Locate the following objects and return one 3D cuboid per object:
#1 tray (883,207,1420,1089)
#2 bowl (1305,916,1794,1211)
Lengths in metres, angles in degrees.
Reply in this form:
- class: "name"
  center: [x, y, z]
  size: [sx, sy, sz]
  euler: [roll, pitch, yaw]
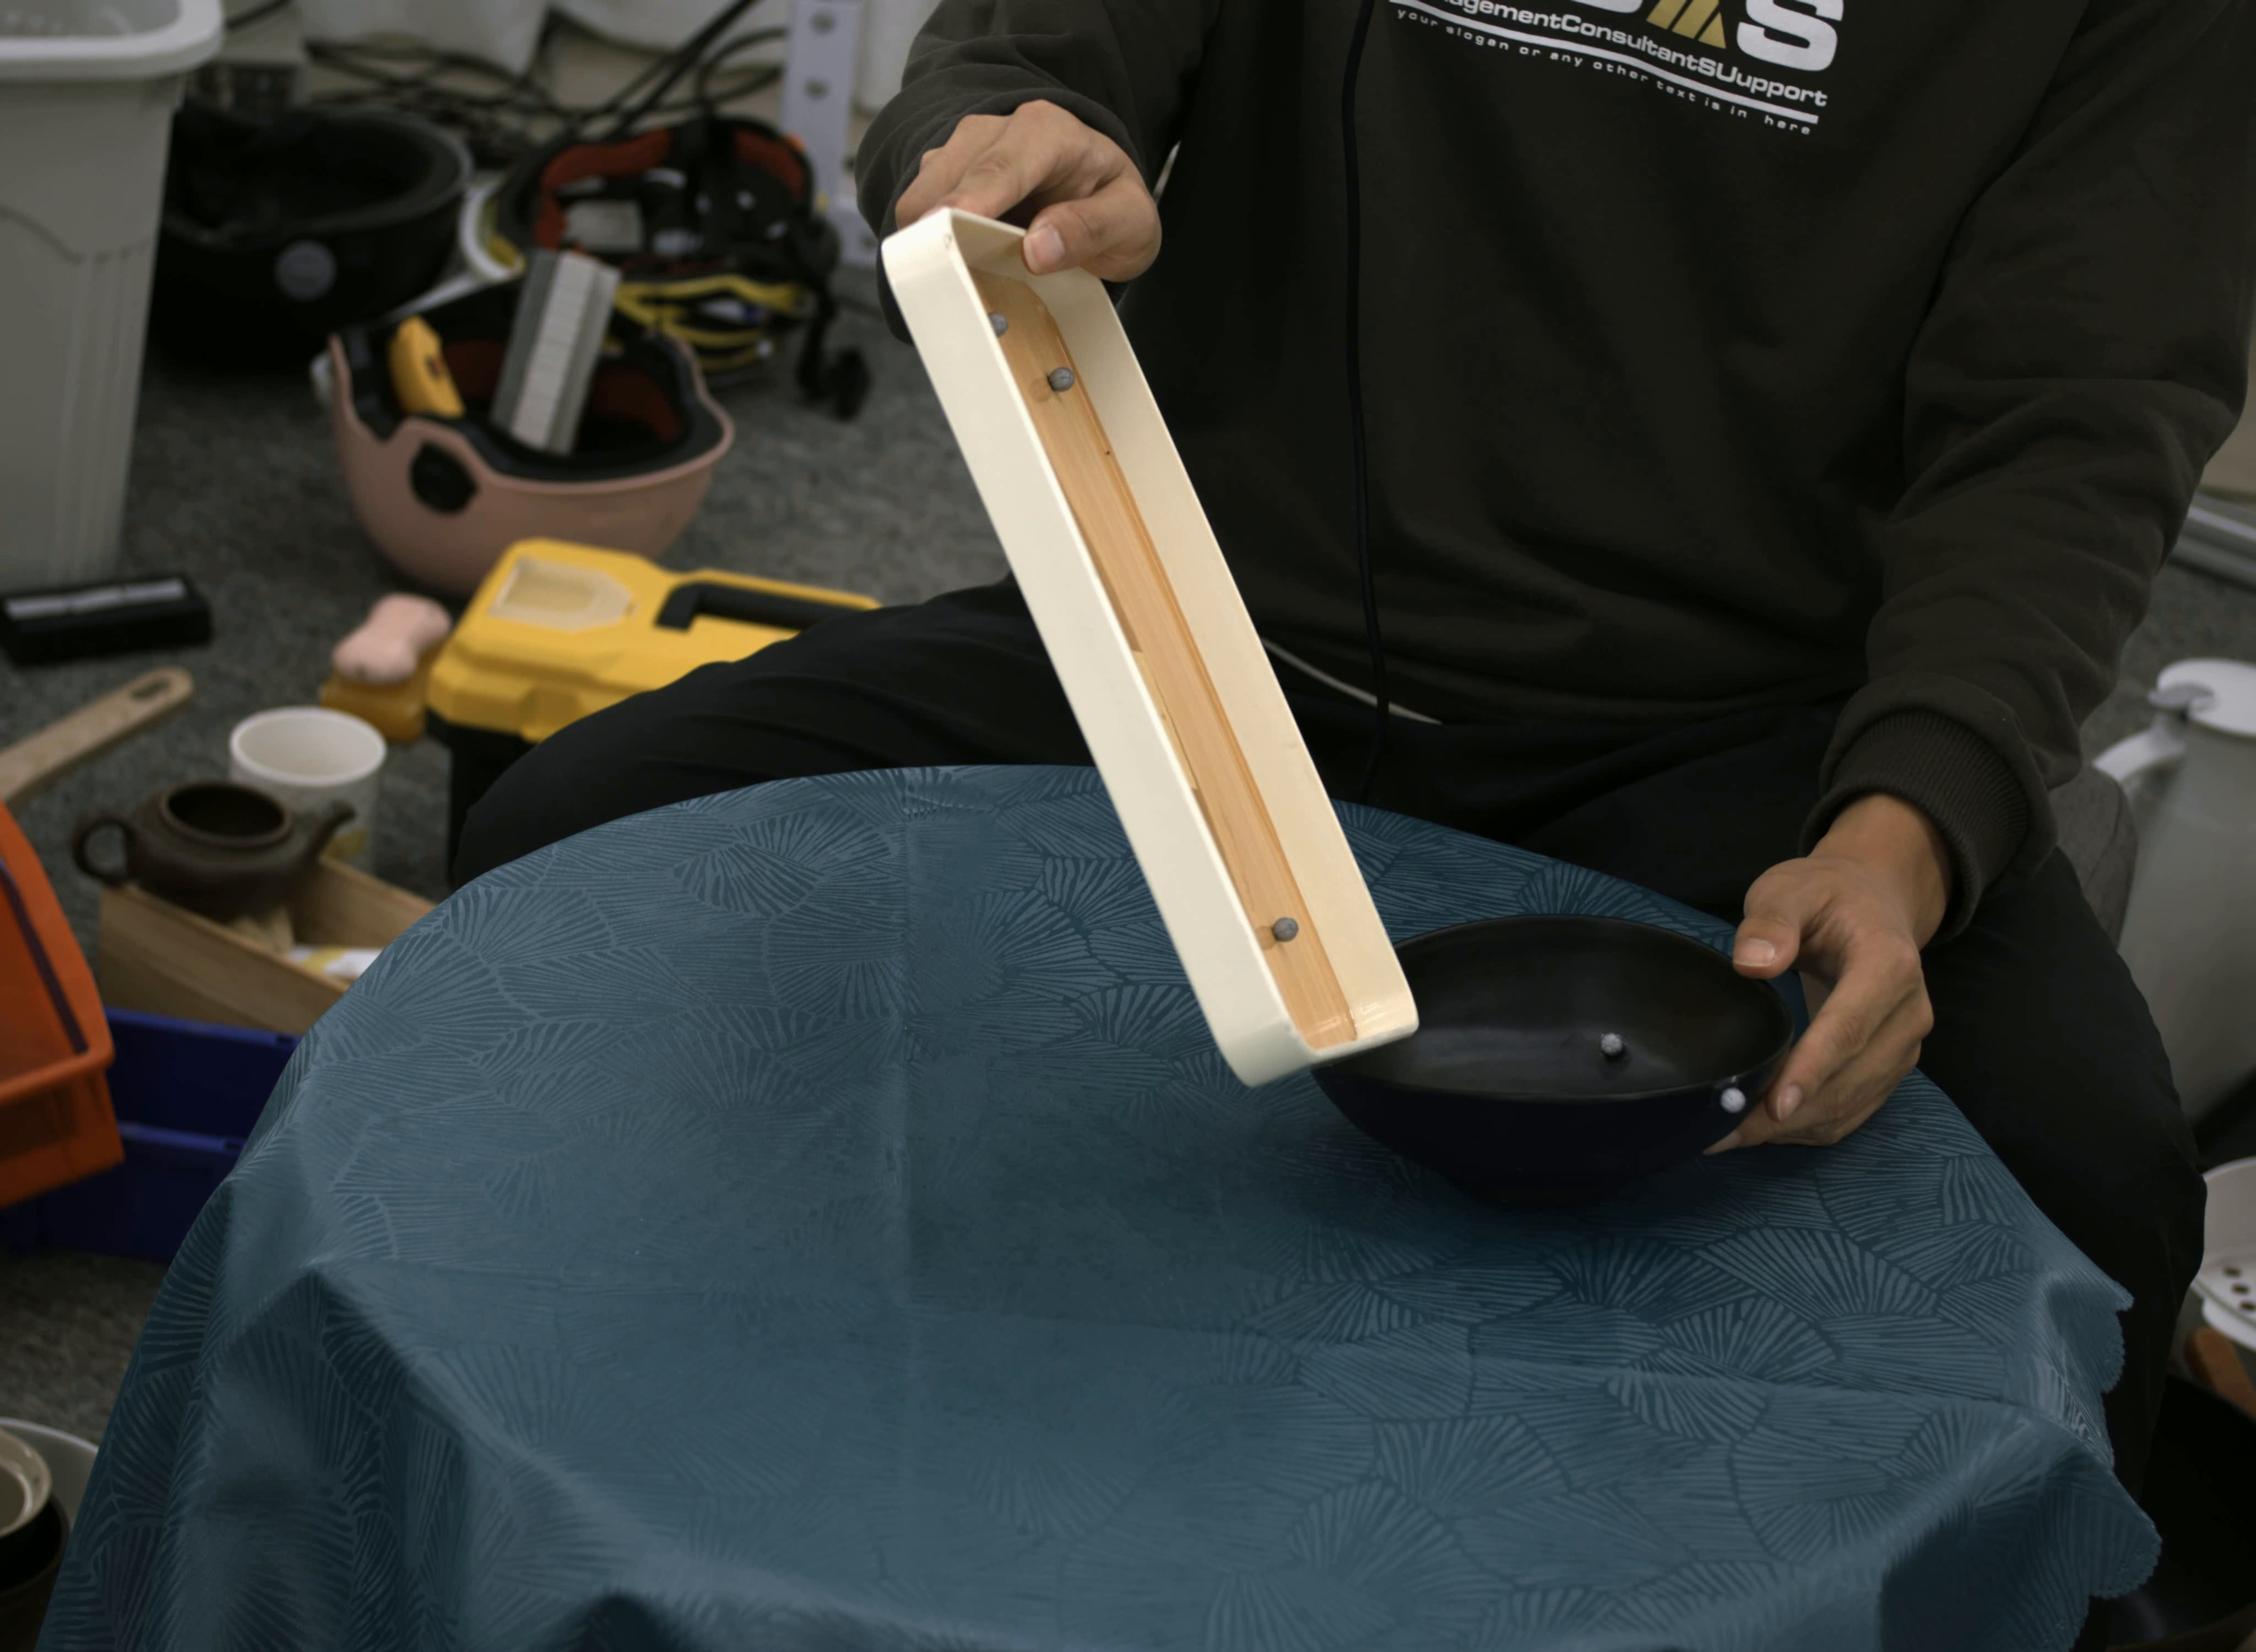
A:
- class: "tray"
  center: [0.010, -0.059, 1.774]
  size: [0.027, 0.301, 0.191]
  euler: [-25, -6, 14]
- class: "bowl"
  center: [0.144, 0.090, 1.833]
  size: [0.170, 0.066, 0.138]
  euler: [-2, 25, 0]
